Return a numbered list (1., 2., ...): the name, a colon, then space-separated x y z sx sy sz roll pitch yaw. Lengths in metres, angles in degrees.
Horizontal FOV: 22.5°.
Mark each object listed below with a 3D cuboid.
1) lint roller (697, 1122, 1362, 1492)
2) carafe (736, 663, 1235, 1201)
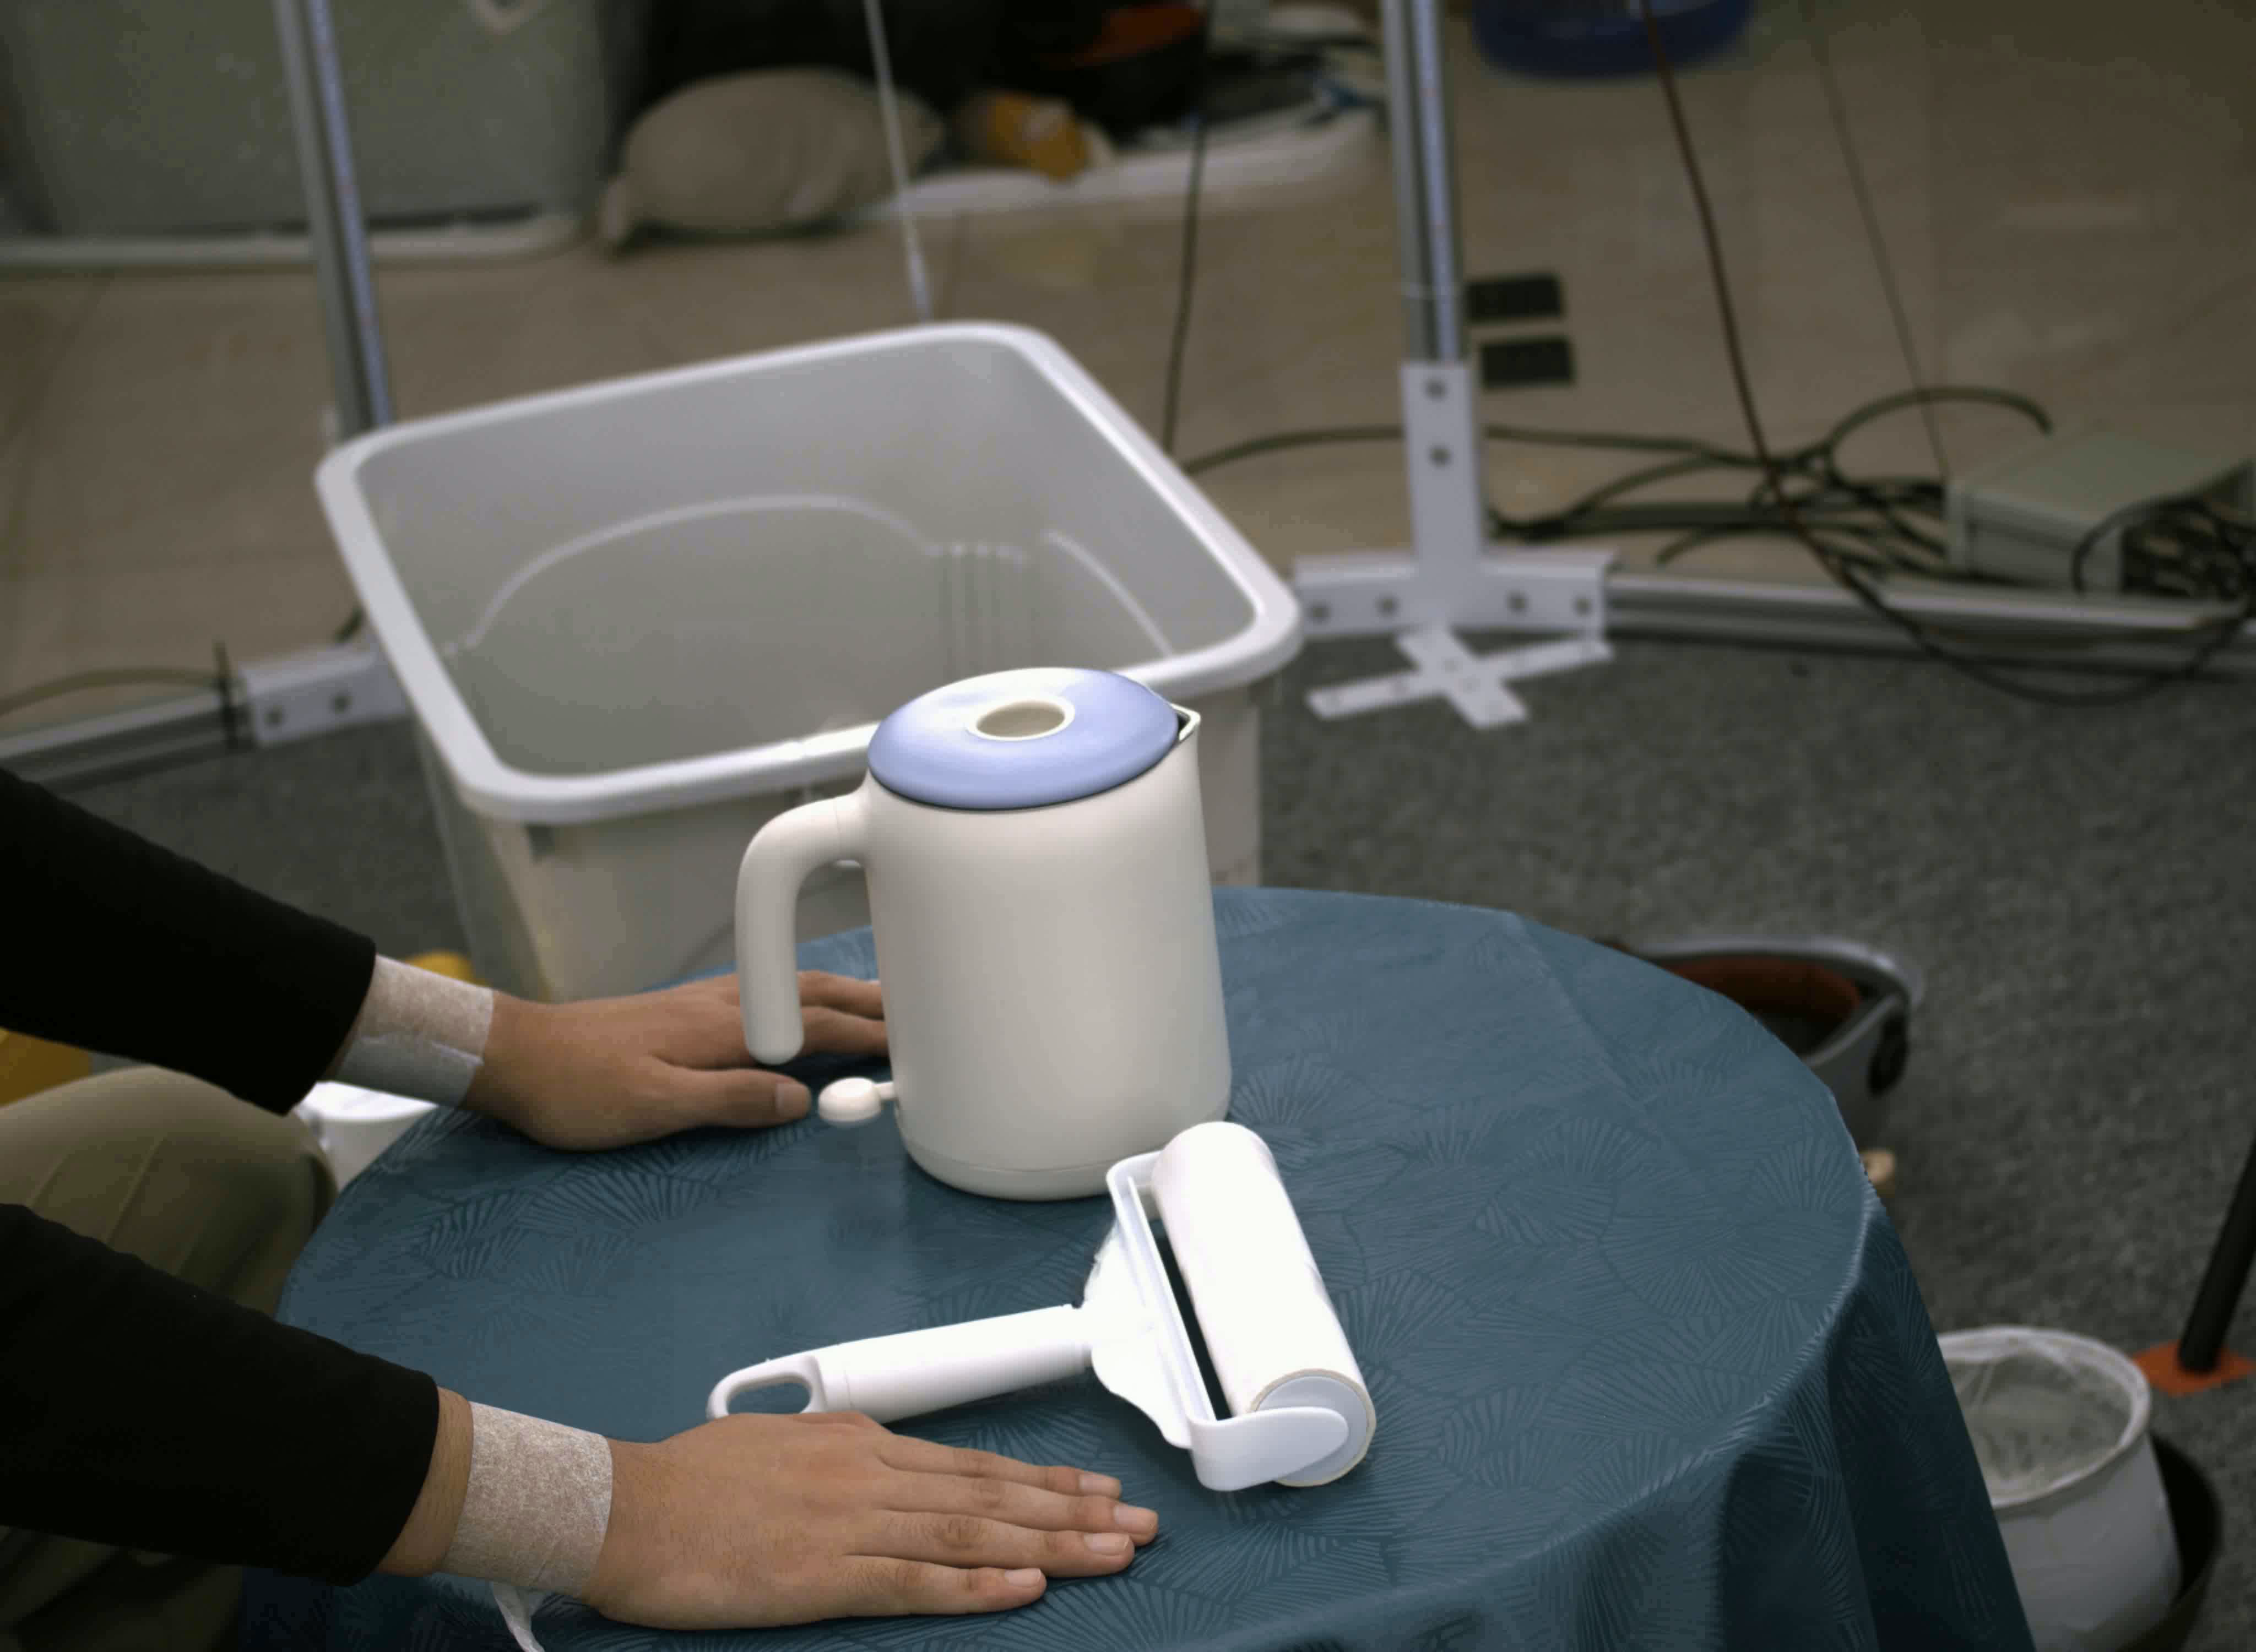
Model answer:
1. lint roller: -0.043 0.185 2.009 0.225 0.049 0.200 -11 26 -6
2. carafe: -0.055 0.045 2.158 0.190 0.185 0.130 -12 25 -6
